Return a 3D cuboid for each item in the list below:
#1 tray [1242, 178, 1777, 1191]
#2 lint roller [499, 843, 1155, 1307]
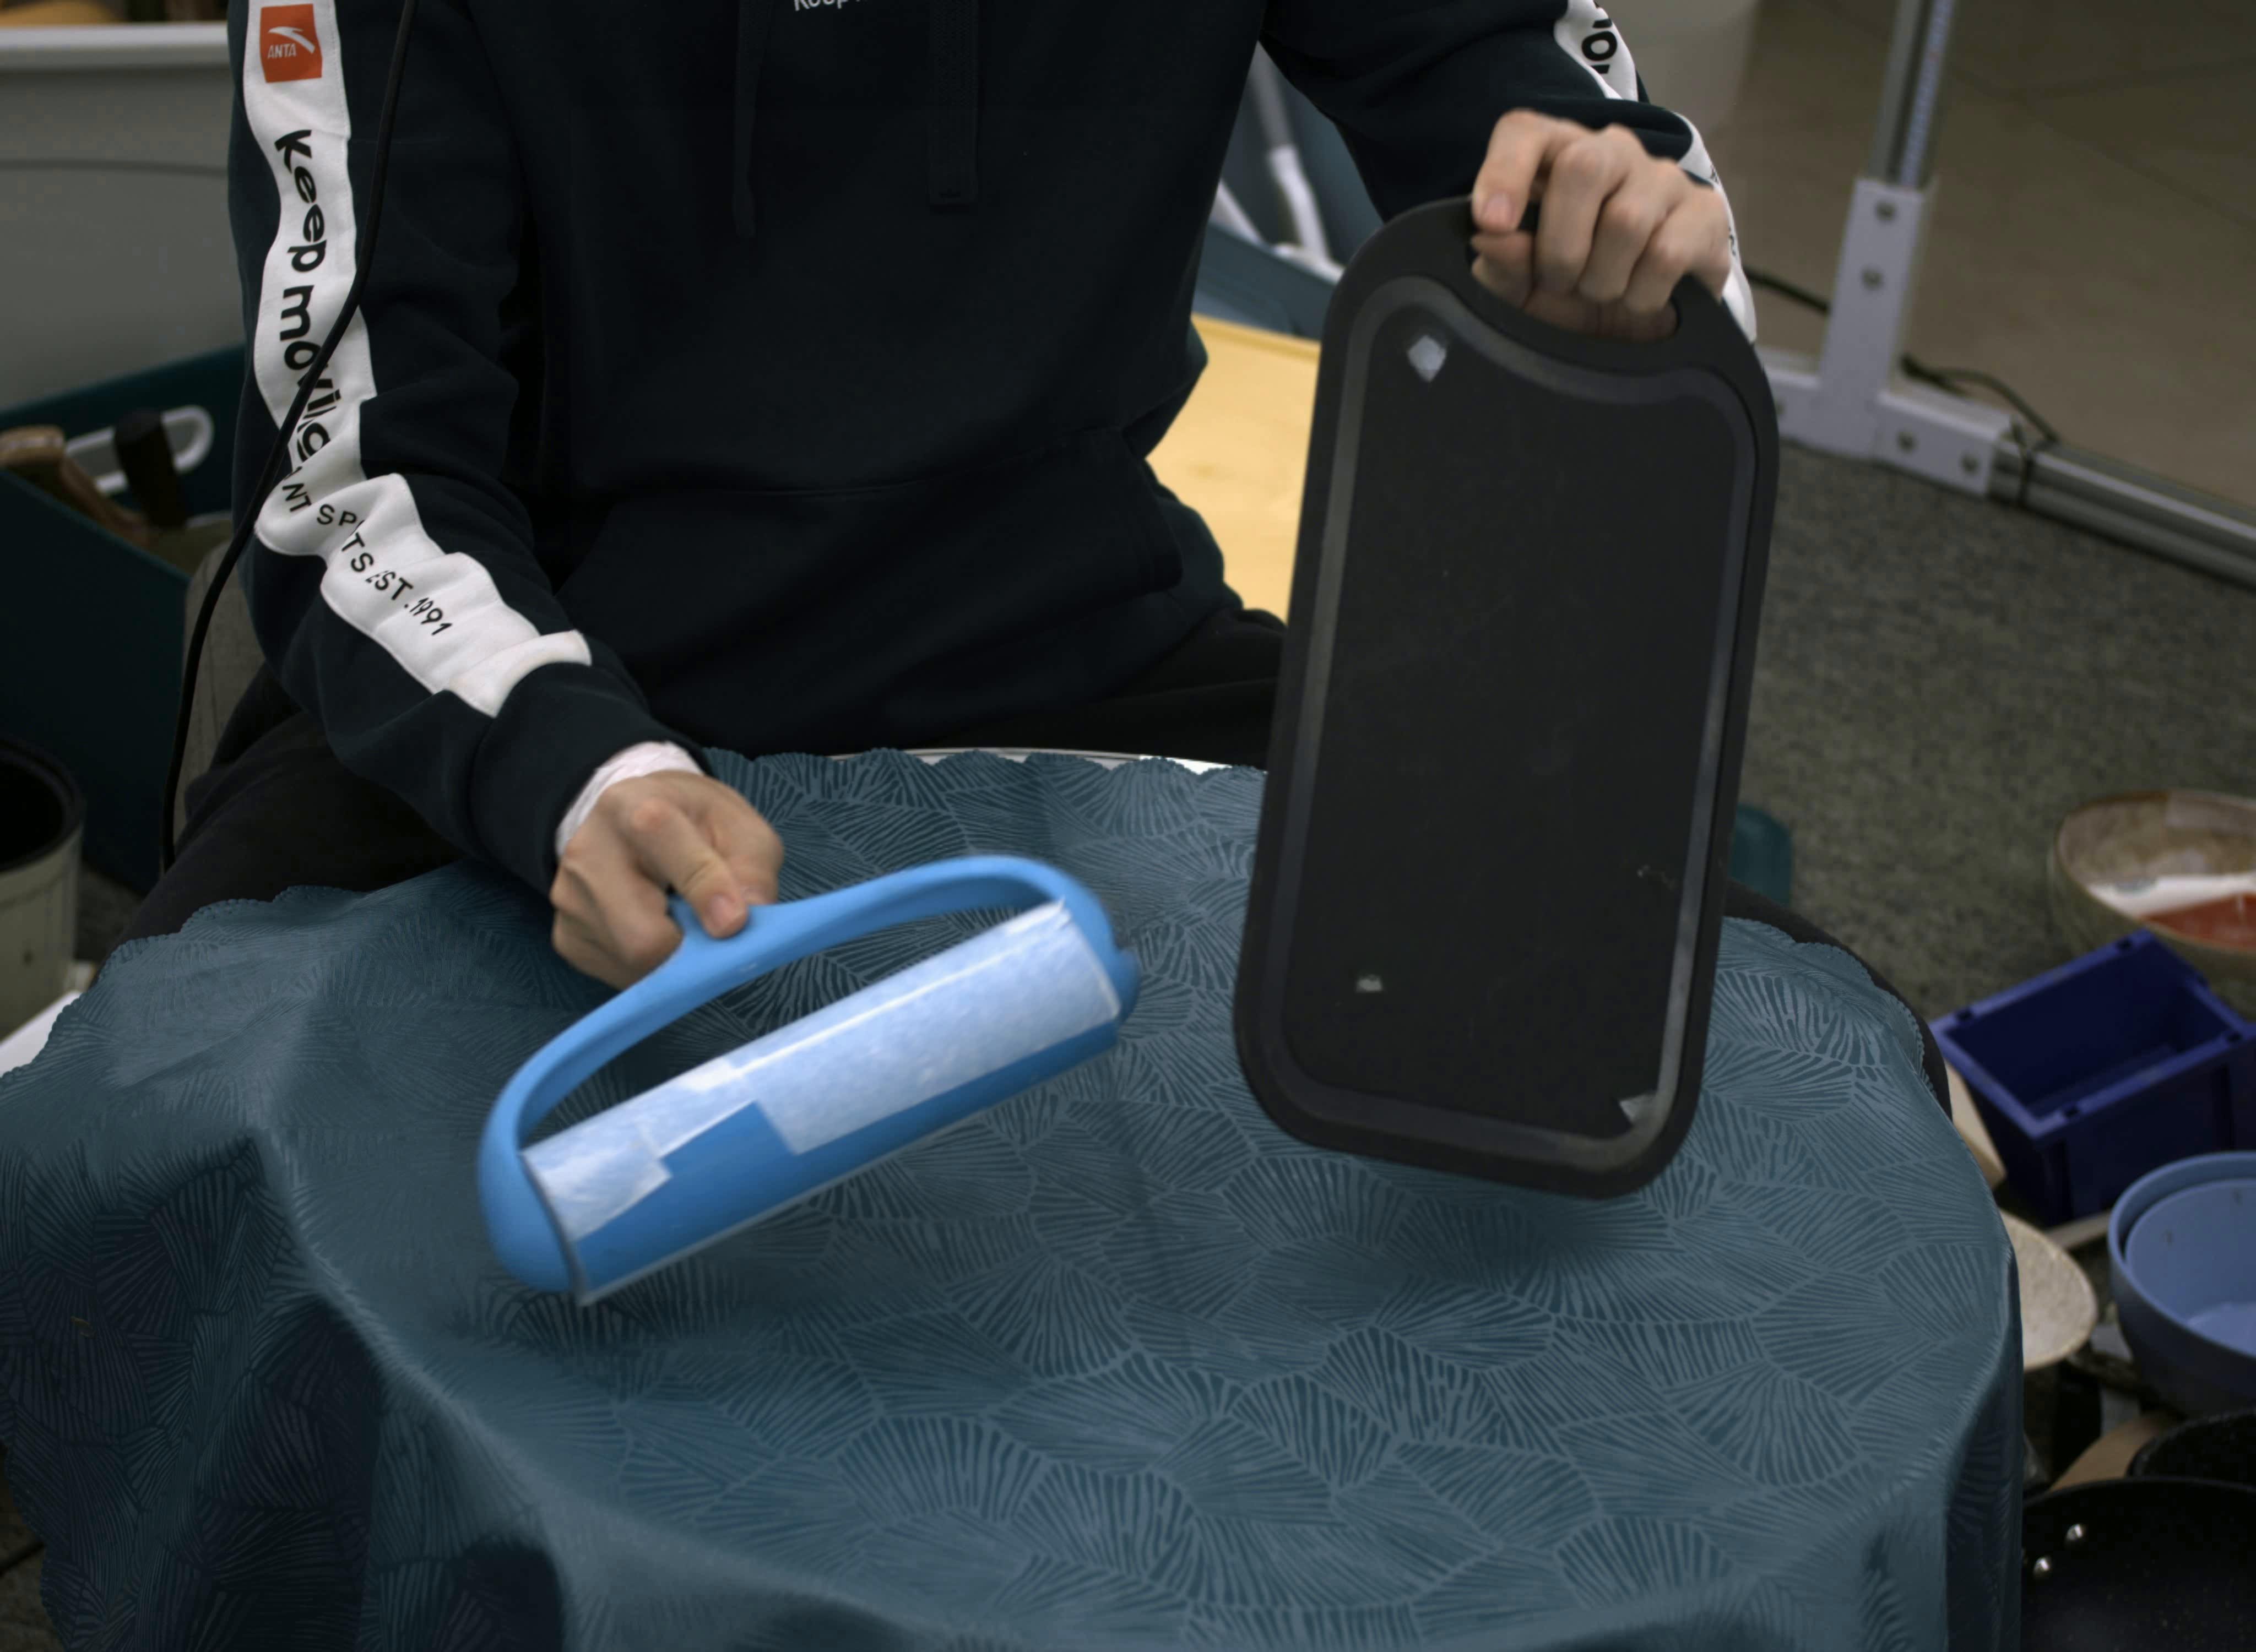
[{"bbox_3d":[0.130,-0.049,1.746,0.209,0.326,0.010,14,-9,-39],"label":"tray"},{"bbox_3d":[-0.122,0.057,1.742,0.228,0.067,0.182,-30,39,-15],"label":"lint roller"}]
